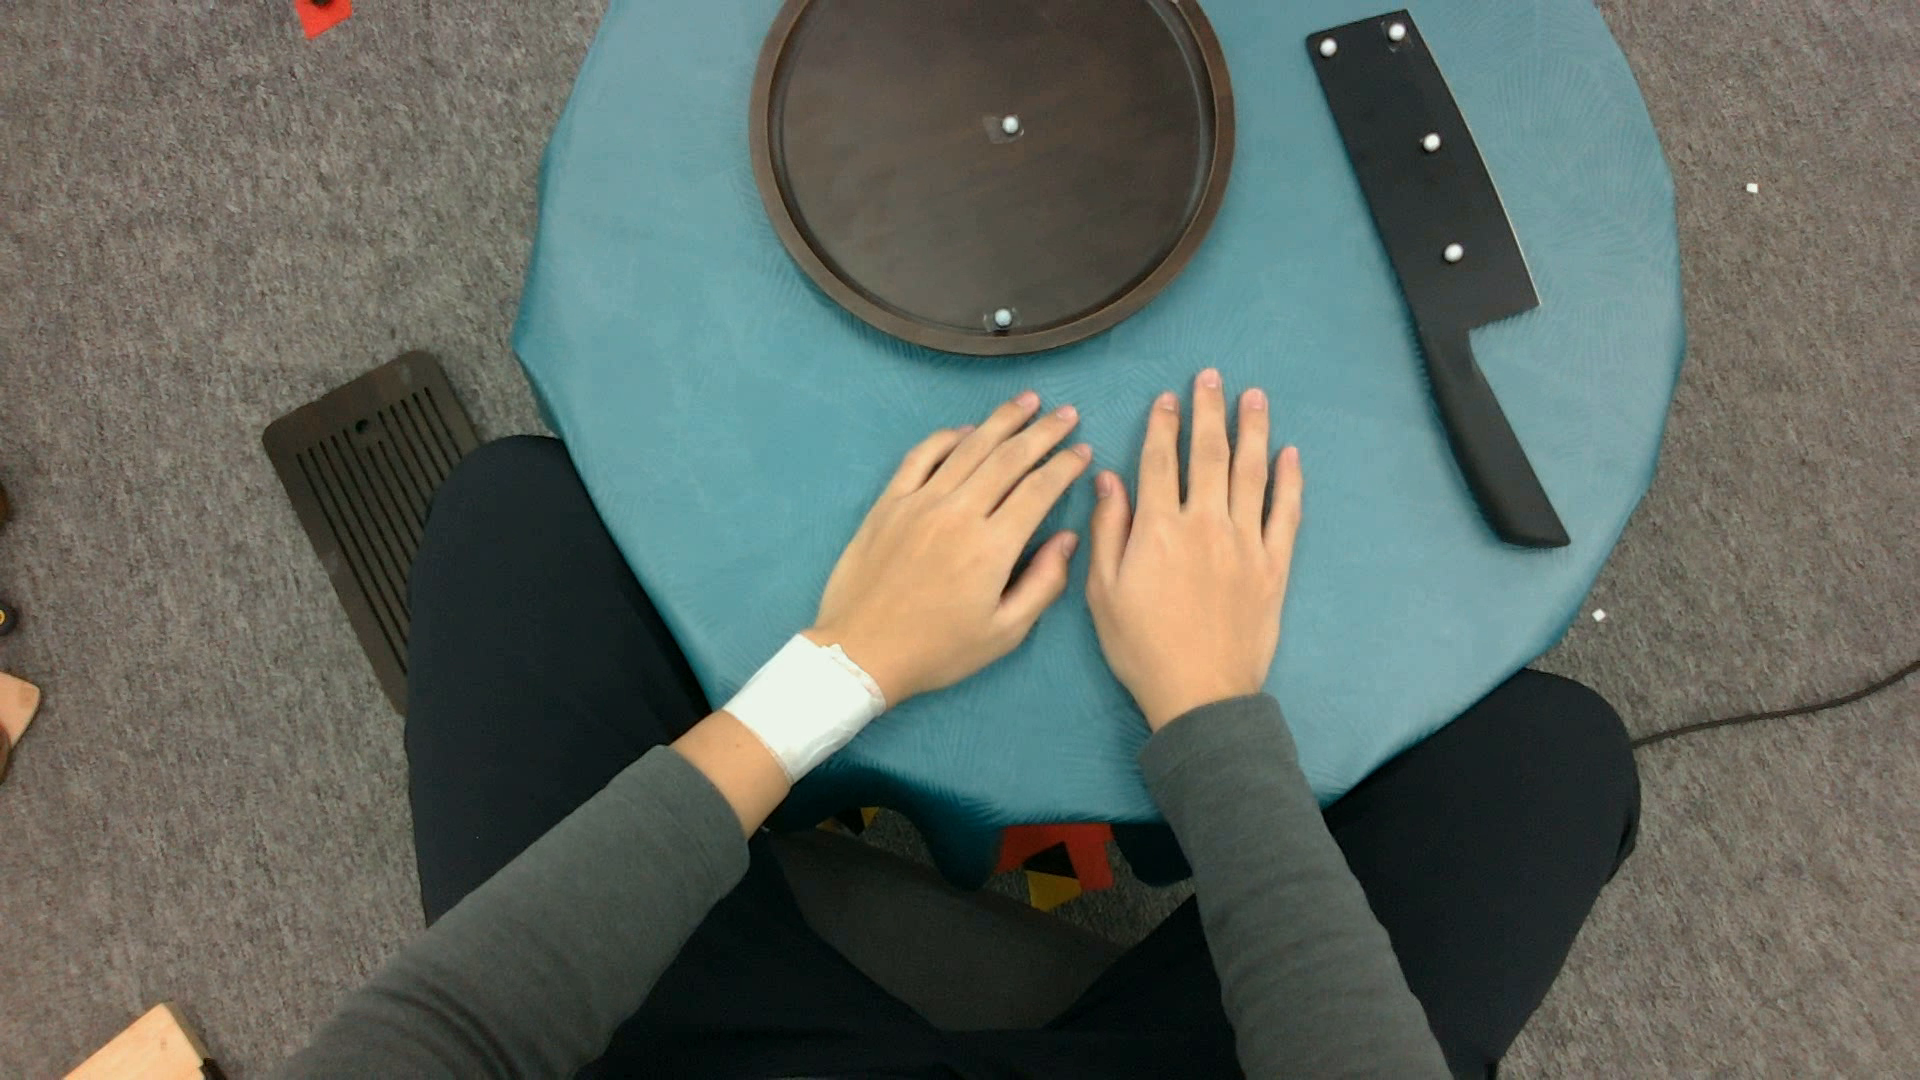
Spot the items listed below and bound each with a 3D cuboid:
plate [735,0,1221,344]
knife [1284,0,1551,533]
[{"bbox_3d":[0.009,-0.223,0.722,0.255,0.029,0.255,0,79,-1],"label":"plate"},{"bbox_3d":[0.247,-0.146,0.717,0.081,0.021,0.303,-13,79,-5],"label":"knife"}]
